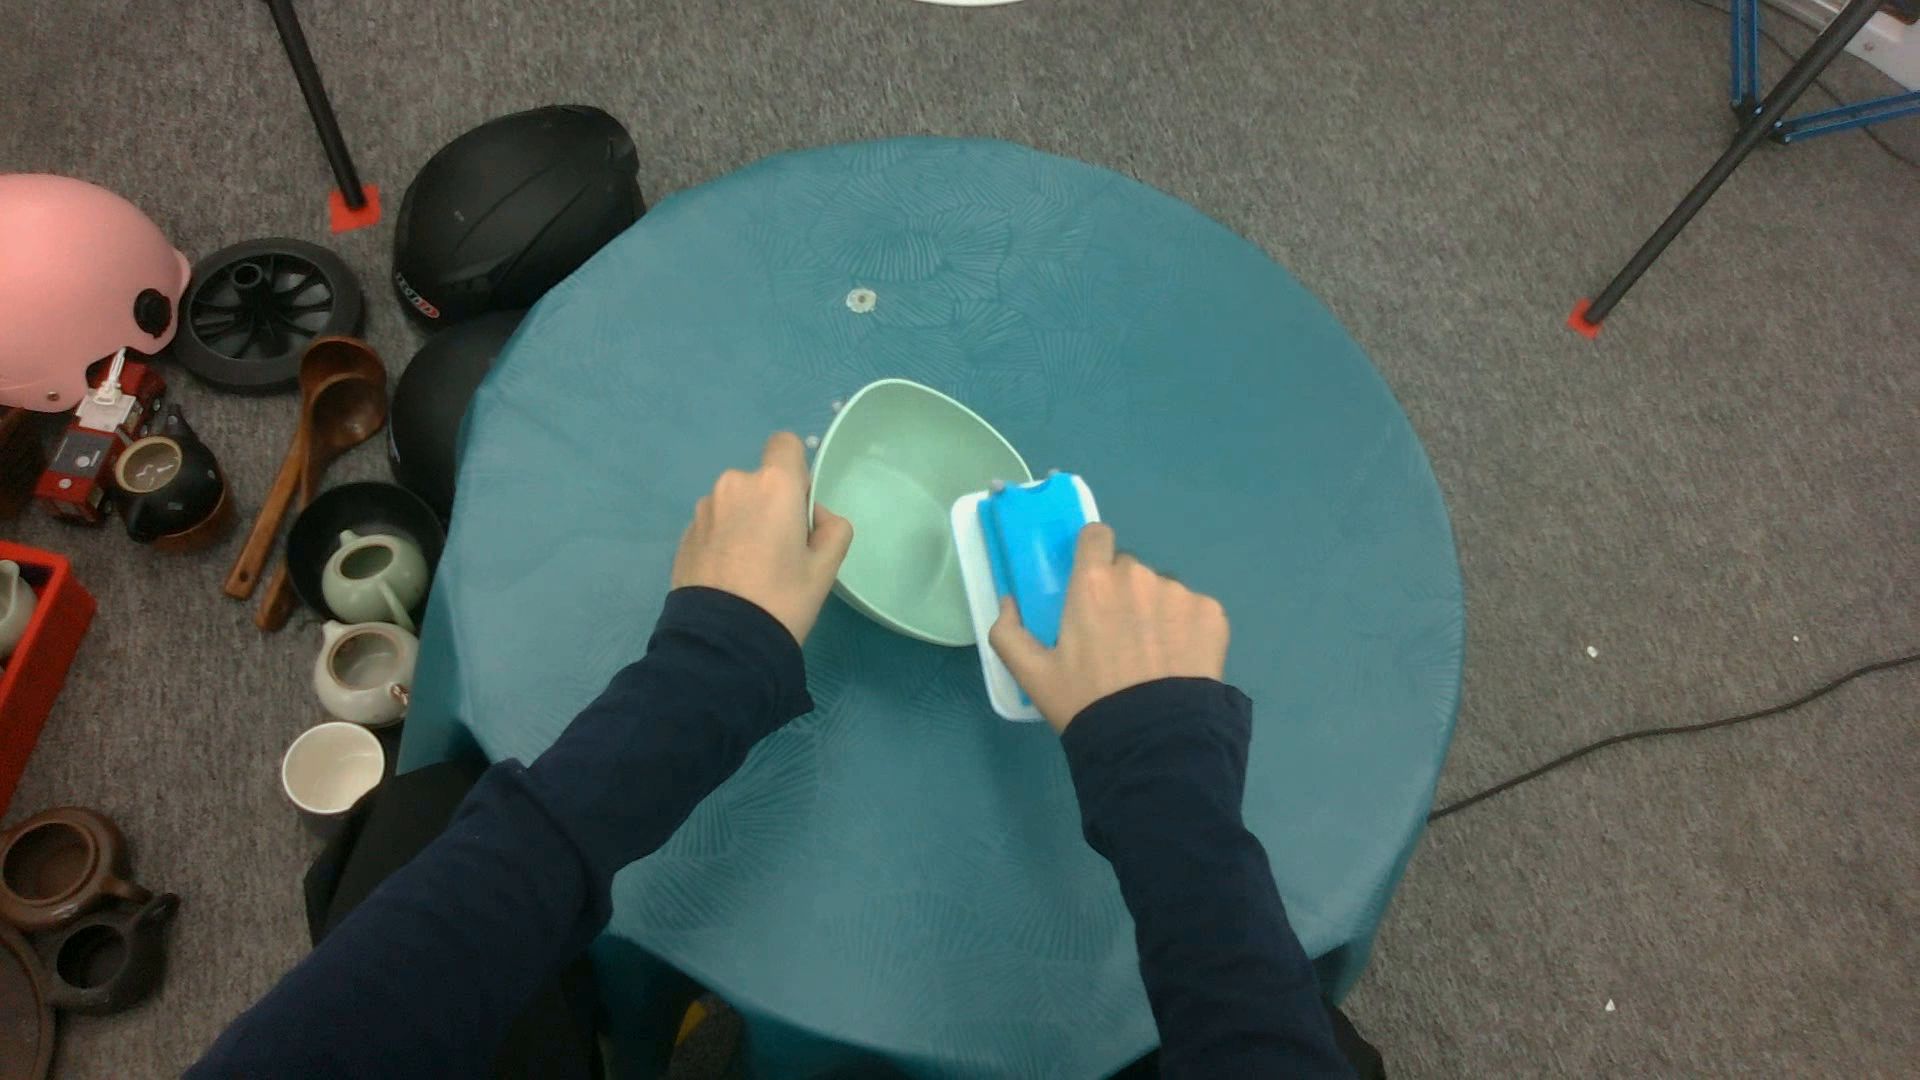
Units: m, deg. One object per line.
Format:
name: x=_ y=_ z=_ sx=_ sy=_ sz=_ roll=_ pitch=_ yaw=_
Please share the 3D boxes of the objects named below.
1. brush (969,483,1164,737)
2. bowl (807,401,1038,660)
brush: x=0.050 y=0.028 z=0.716 sx=0.084 sy=0.055 sz=0.144 roll=-14 pitch=54 yaw=0
bowl: x=-0.028 y=0.001 z=0.773 sx=0.151 sy=0.058 sz=0.152 roll=12 pitch=67 yaw=-29
